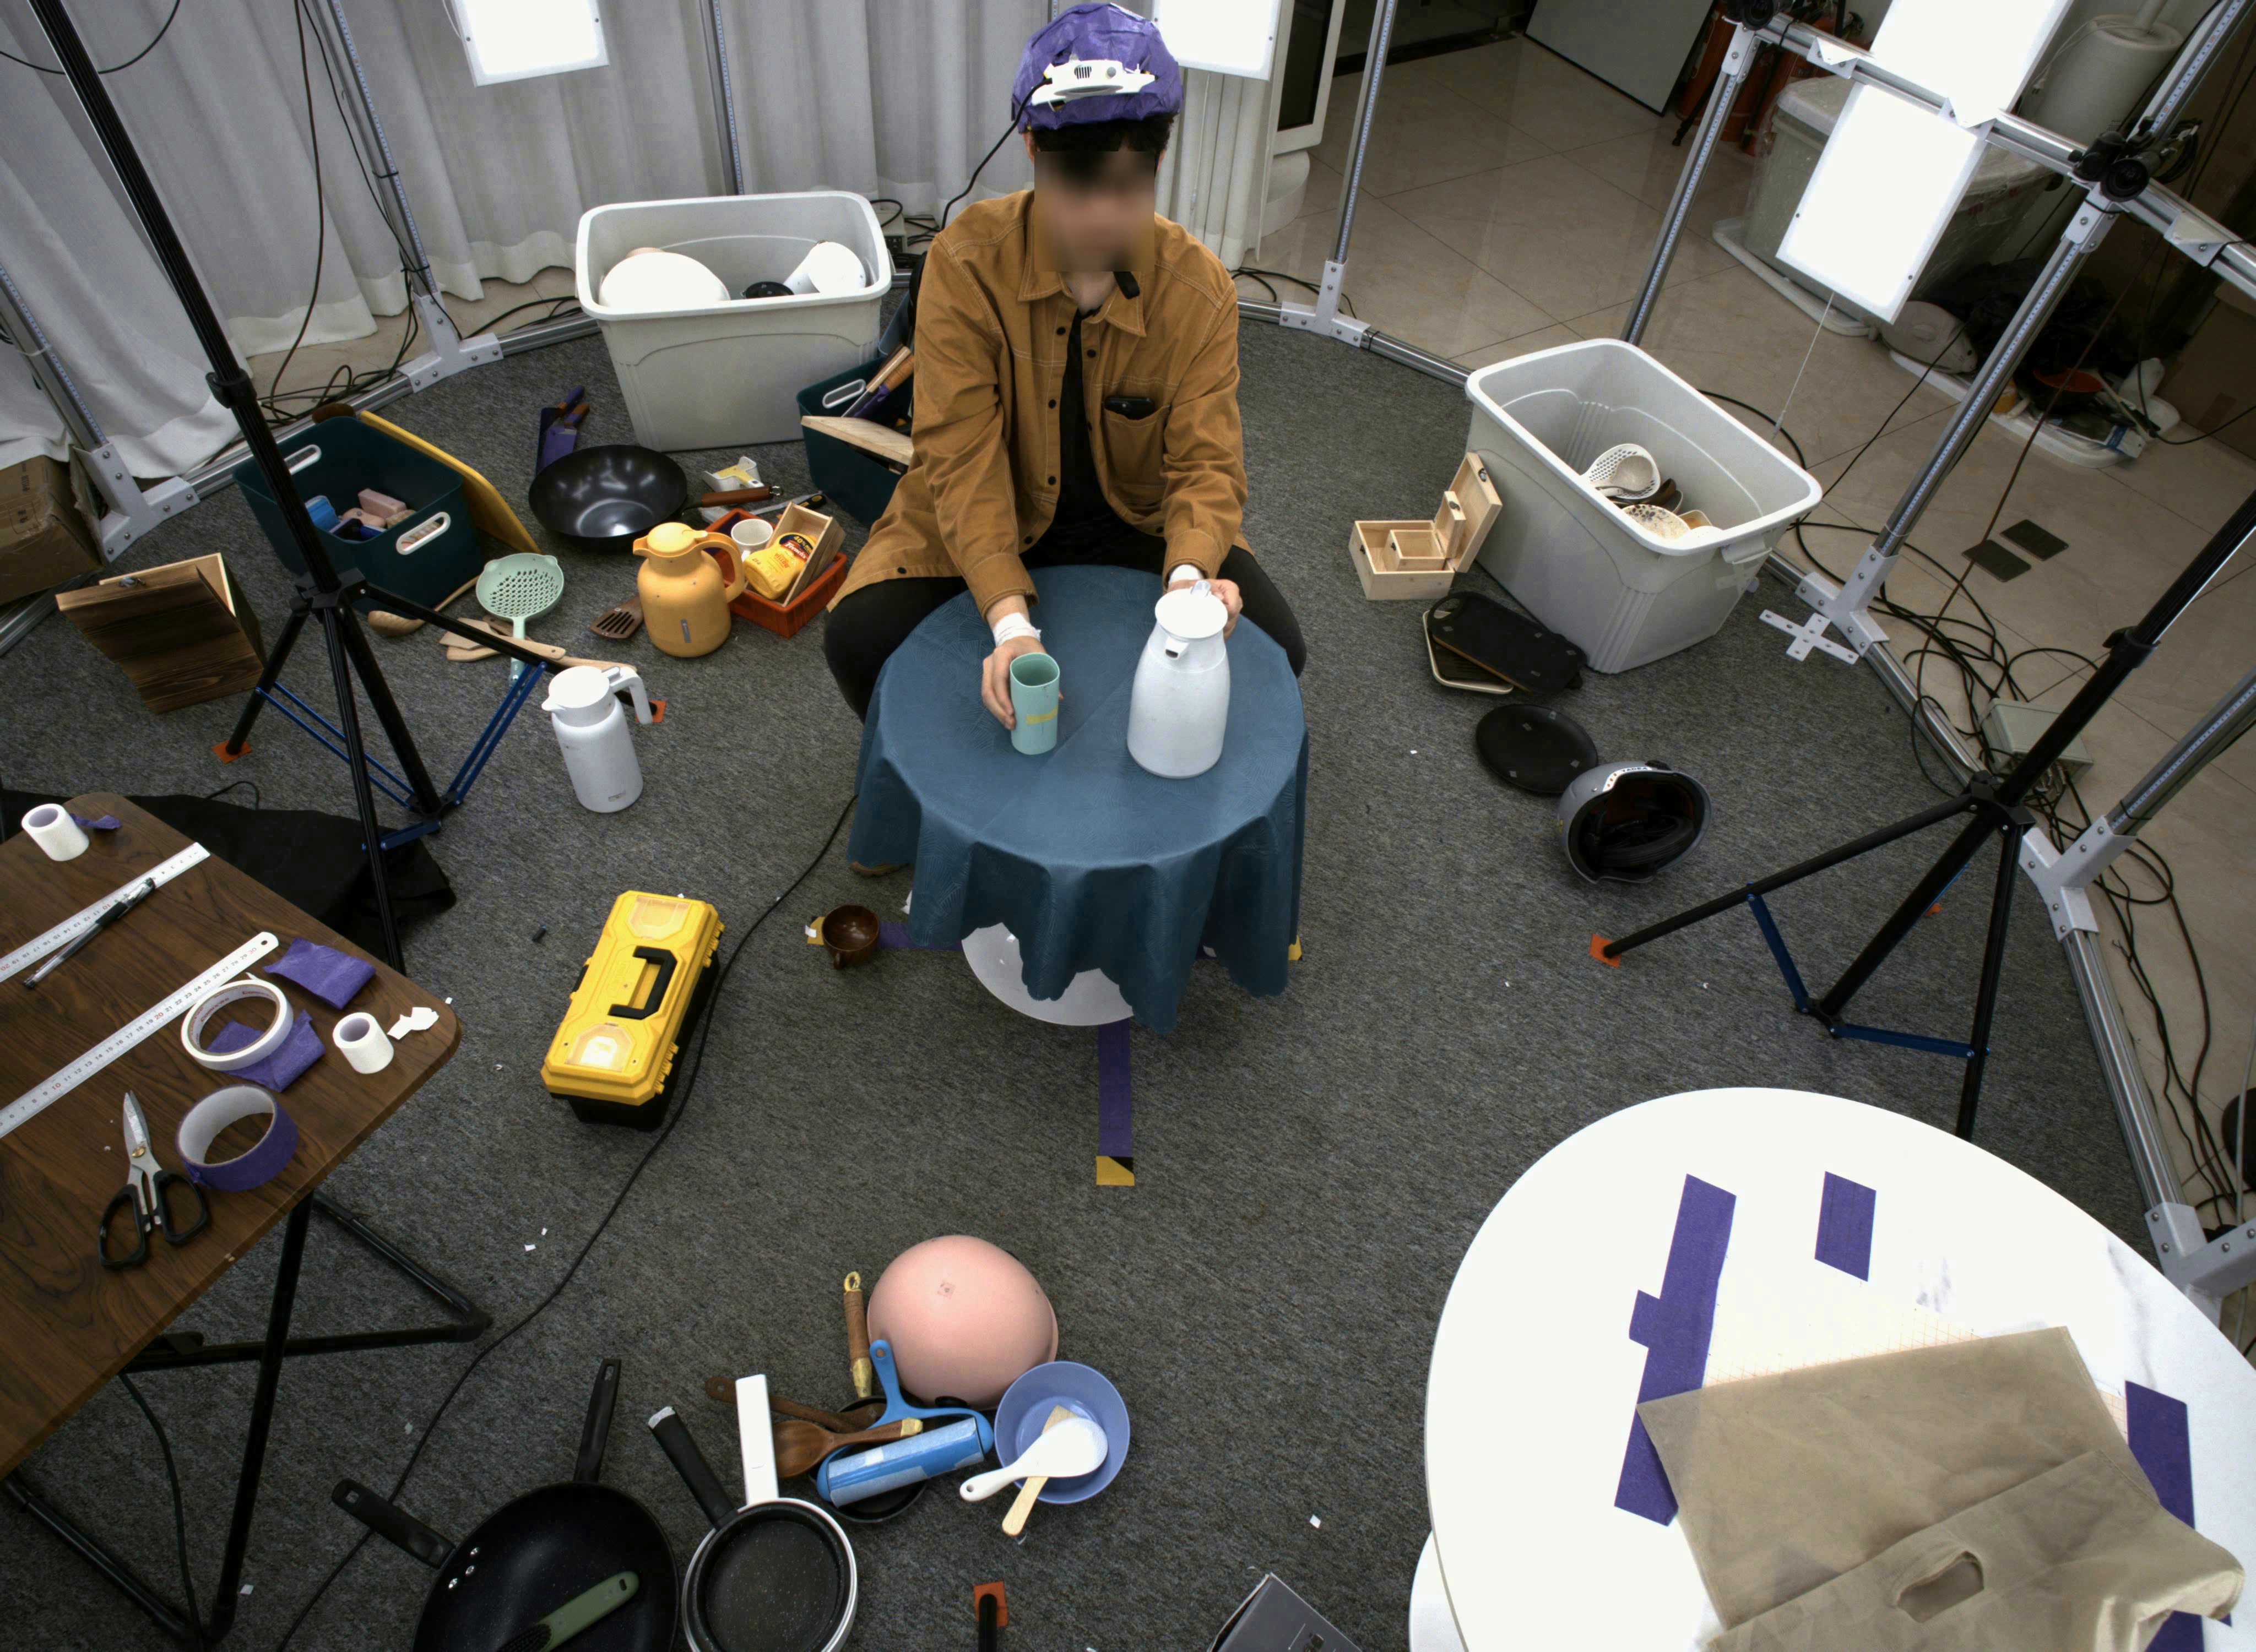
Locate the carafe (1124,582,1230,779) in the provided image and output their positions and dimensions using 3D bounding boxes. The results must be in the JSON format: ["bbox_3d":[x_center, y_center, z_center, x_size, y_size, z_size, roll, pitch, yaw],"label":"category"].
[{"bbox_3d":[0.078,-0.205,1.694,0.133,0.243,0.171,21,50,12],"label":"carafe"}]

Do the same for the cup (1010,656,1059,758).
[{"bbox_3d":[-0.126,-0.160,1.721,0.066,0.129,0.068,2,49,-3],"label":"cup"}]
